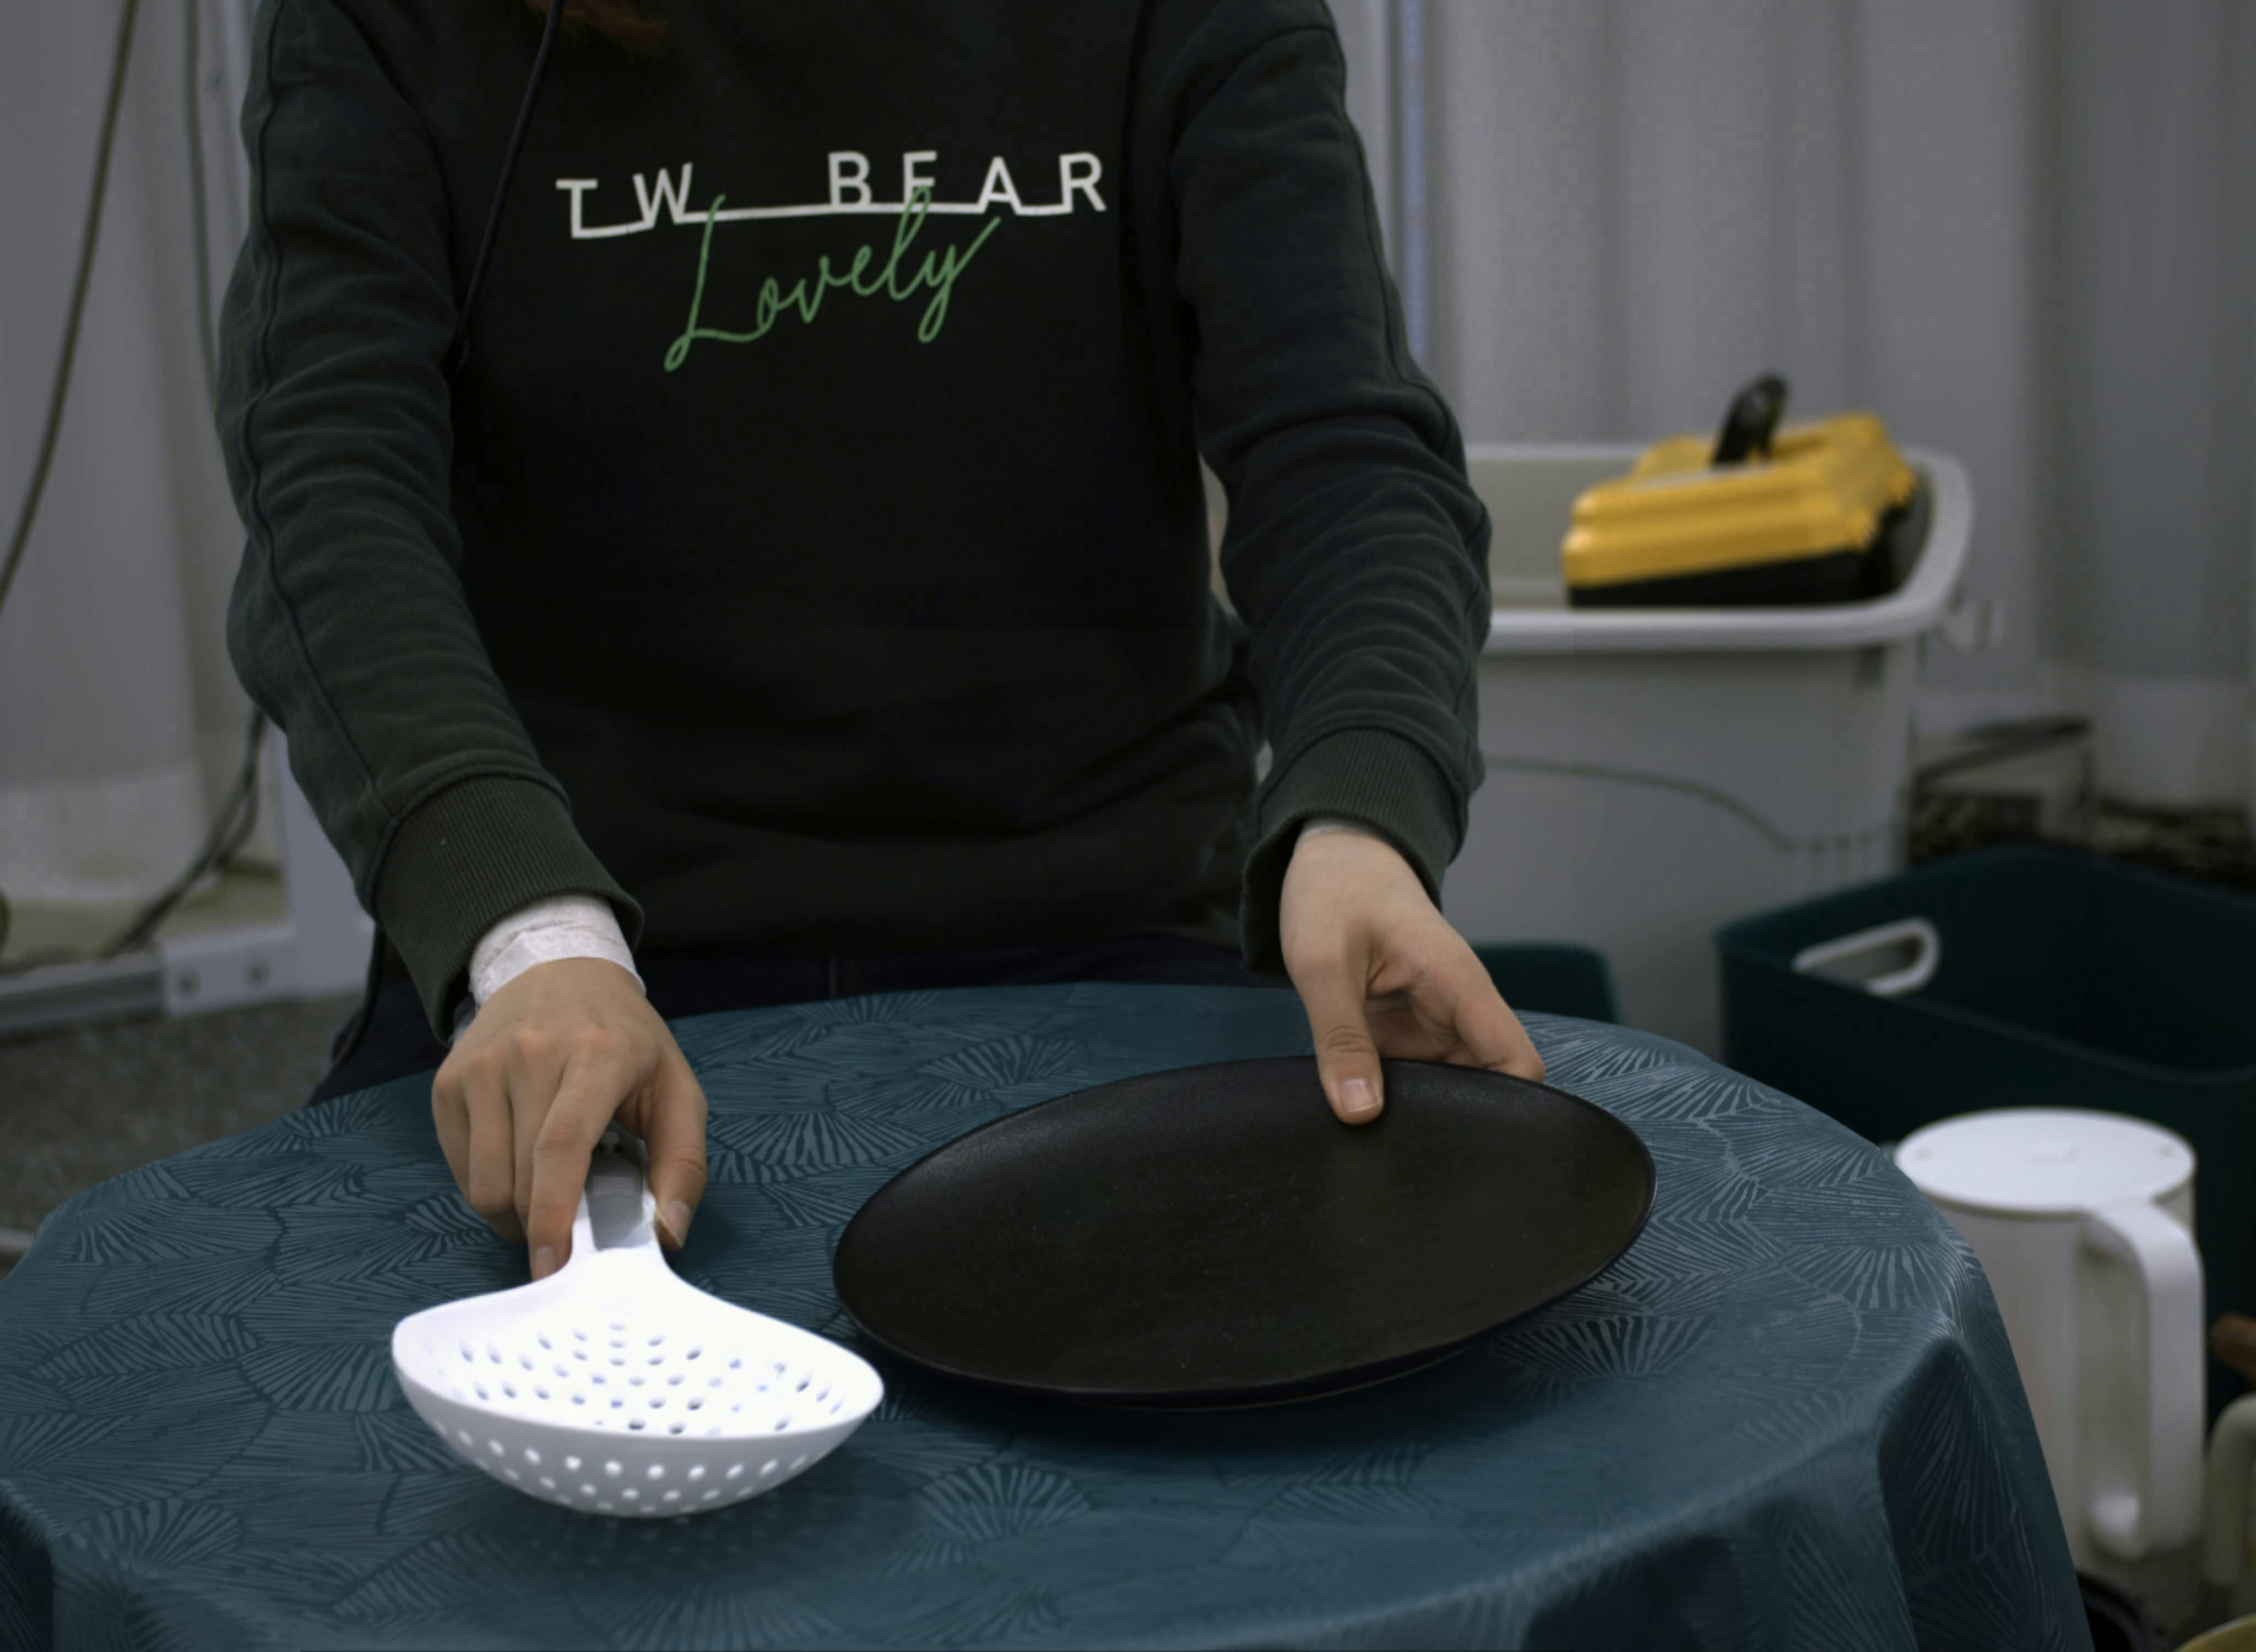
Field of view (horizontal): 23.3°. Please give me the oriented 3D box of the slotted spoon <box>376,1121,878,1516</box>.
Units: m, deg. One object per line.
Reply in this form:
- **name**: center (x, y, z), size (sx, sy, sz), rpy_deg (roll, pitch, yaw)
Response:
- **slotted spoon**: center (-0.147, 0.132, 1.578), size (0.135, 0.045, 0.352), rpy_deg (6, 14, -7)

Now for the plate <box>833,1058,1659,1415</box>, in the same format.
- **plate**: center (0.035, 0.123, 1.601), size (0.243, 0.023, 0.246), rpy_deg (-7, 19, 2)
